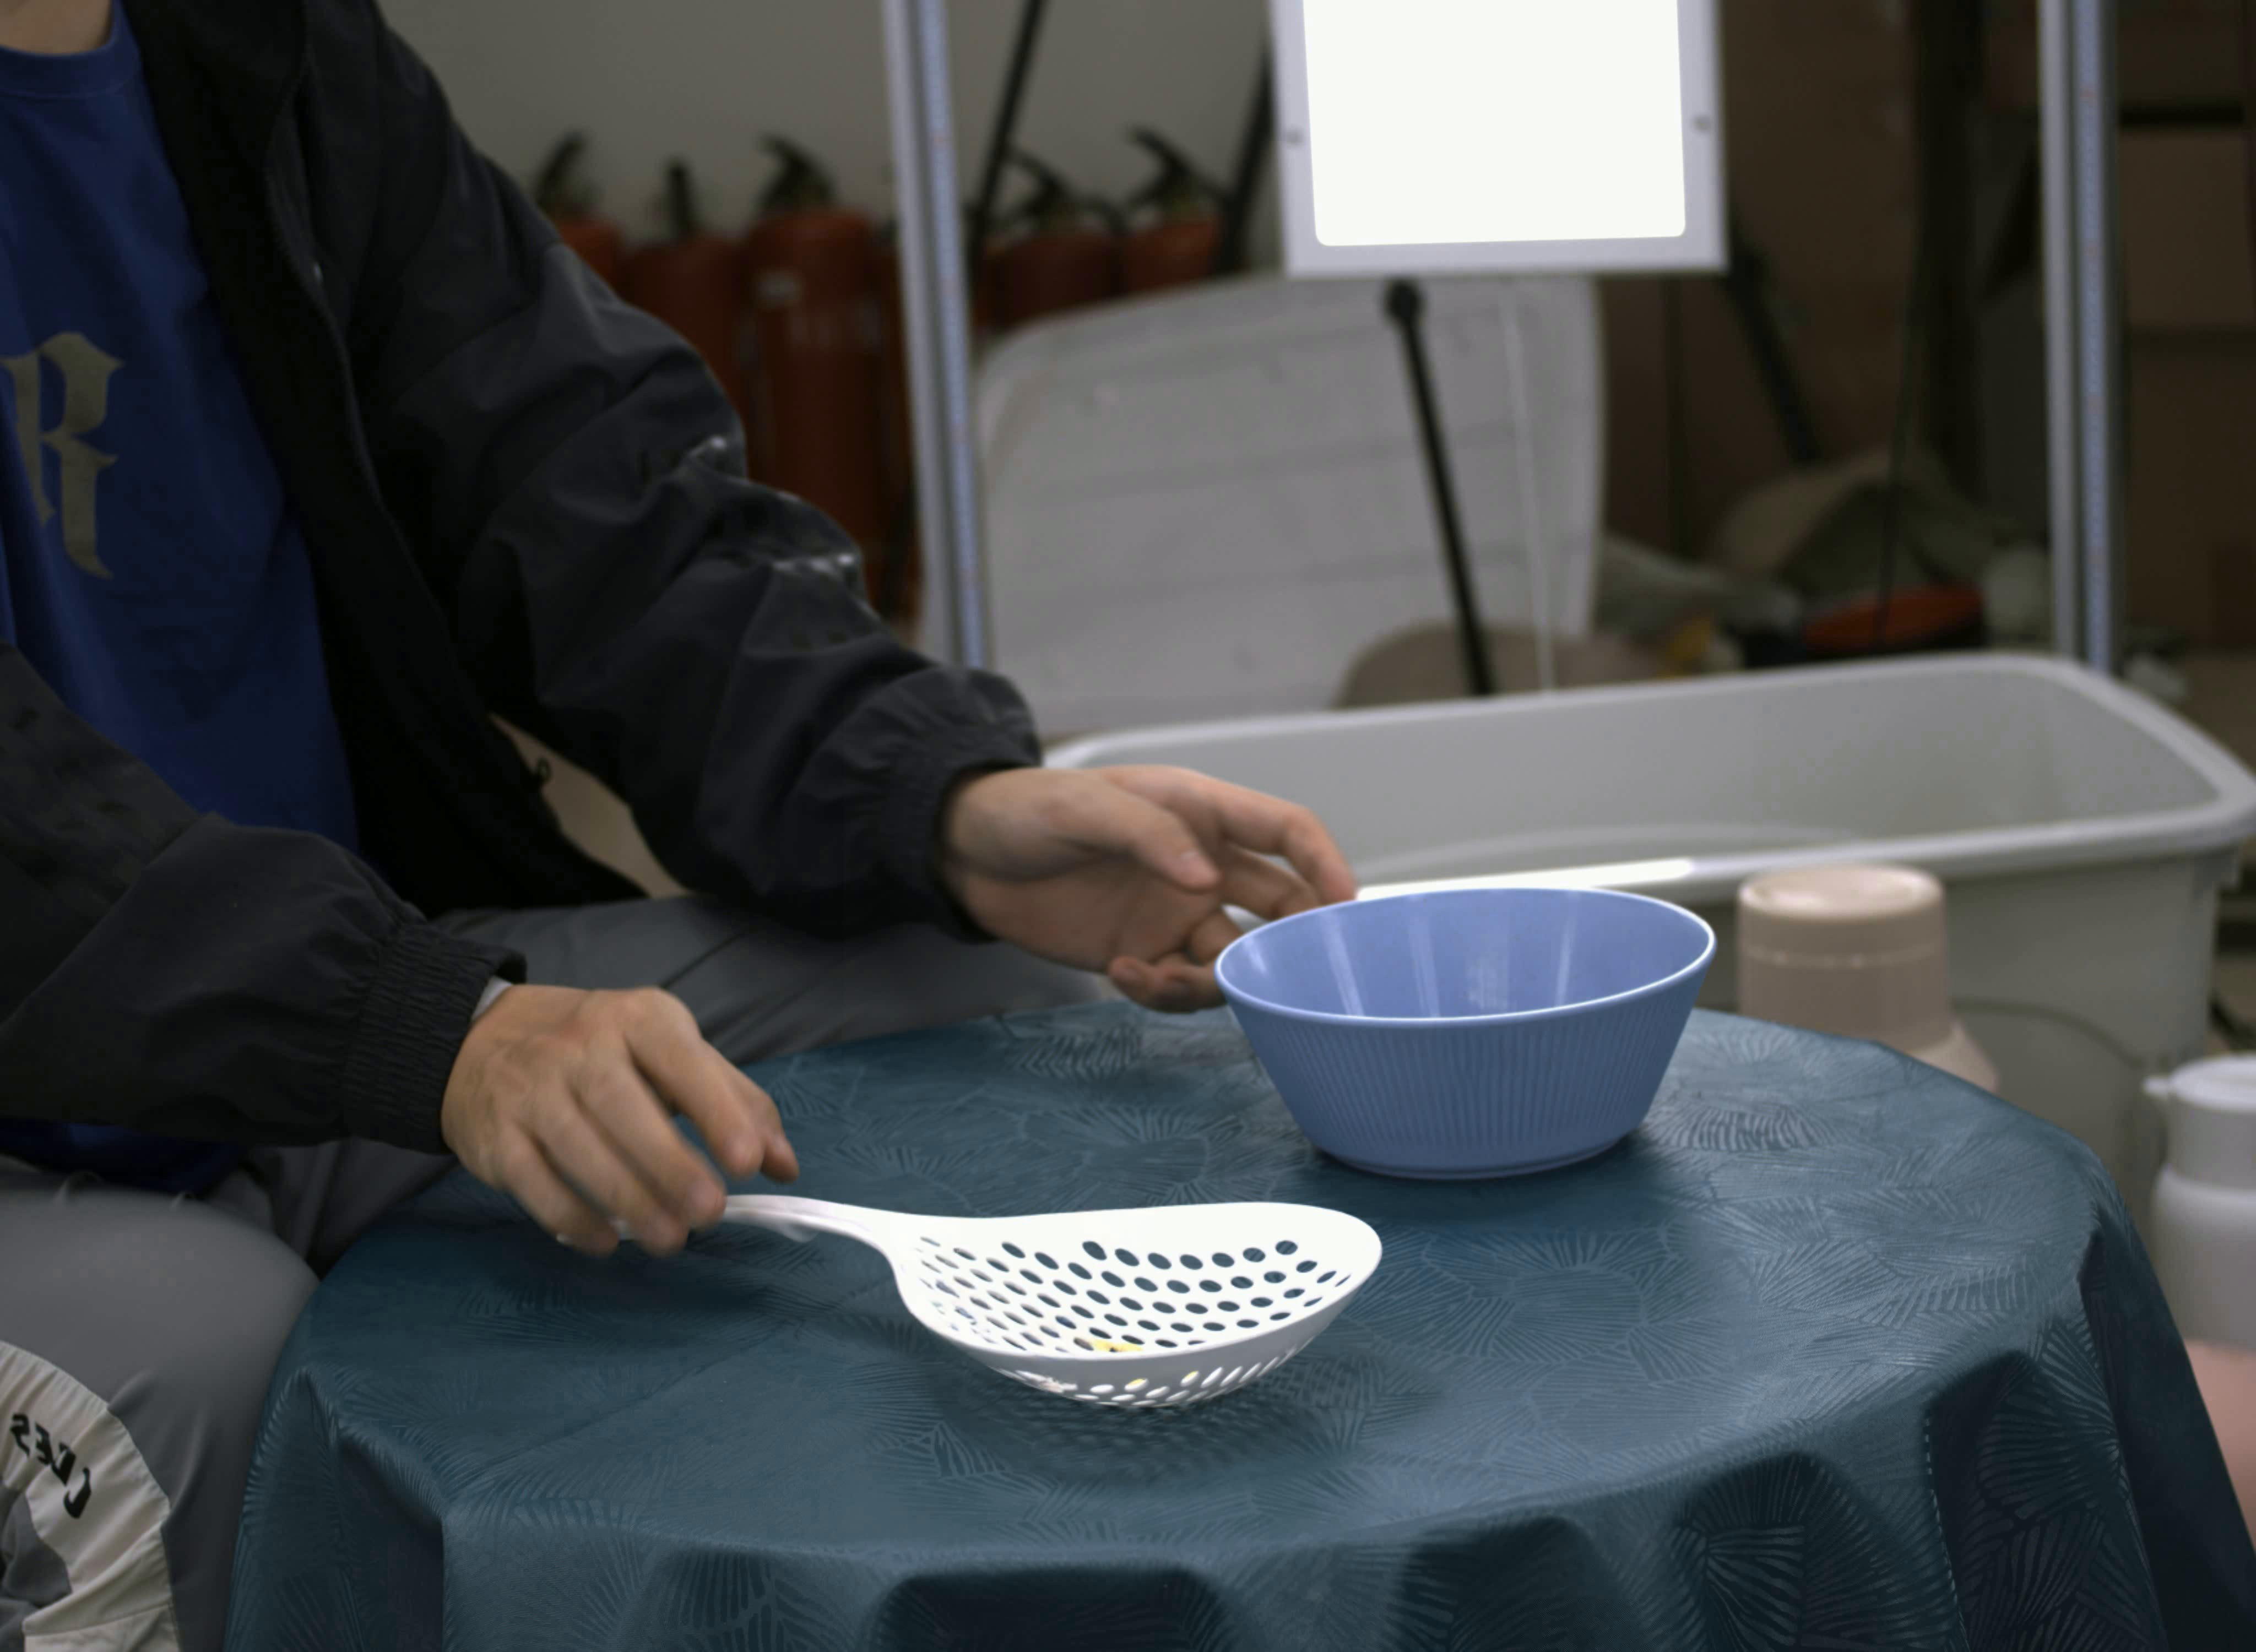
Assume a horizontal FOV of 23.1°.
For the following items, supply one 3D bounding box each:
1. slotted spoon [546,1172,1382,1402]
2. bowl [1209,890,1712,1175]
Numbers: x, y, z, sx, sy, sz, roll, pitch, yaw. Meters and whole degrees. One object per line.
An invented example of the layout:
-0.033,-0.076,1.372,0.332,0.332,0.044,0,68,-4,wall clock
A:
-0.067,0.141,1.770,0.355,0.050,0.133,8,25,44,slotted spoon
0.118,0.074,1.920,0.175,0.070,0.176,-5,13,0,bowl
